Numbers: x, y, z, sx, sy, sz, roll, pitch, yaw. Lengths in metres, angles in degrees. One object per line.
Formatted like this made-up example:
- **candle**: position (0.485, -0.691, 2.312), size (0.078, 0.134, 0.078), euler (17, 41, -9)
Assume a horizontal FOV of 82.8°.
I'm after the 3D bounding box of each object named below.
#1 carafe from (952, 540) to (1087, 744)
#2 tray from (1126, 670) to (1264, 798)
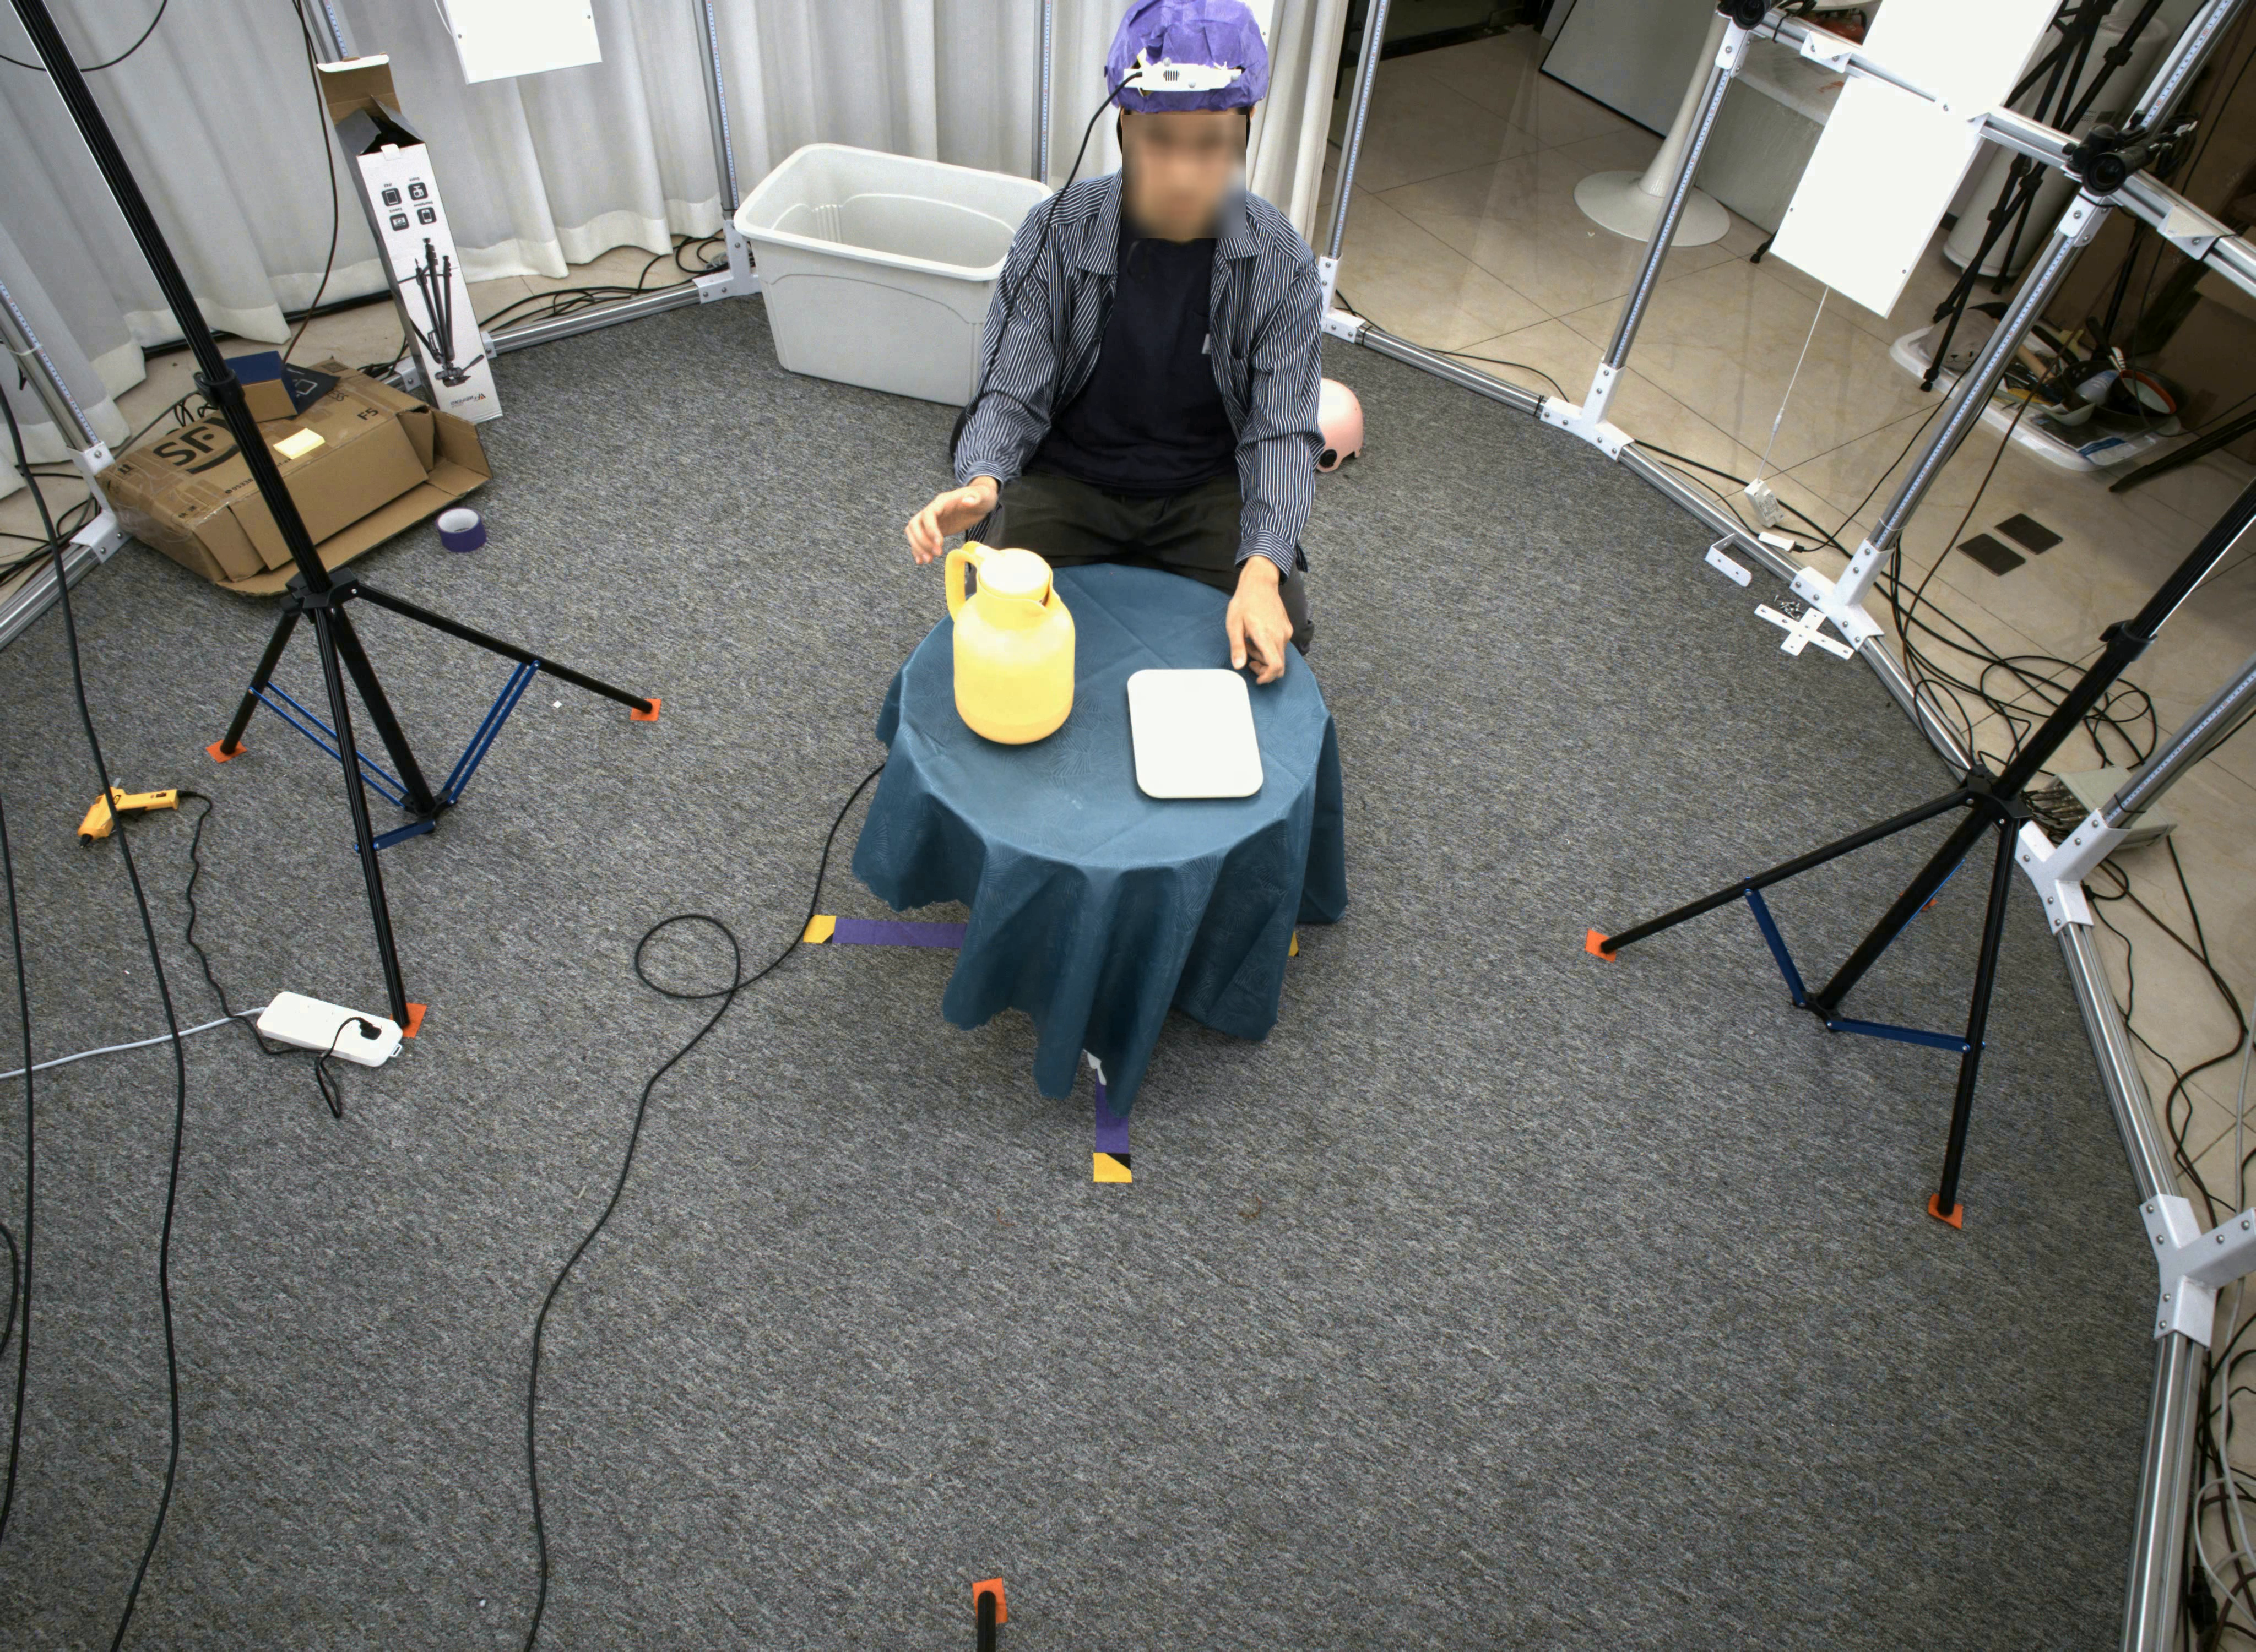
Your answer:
- **carafe**: position (-0.149, -0.253, 1.697), size (0.205, 0.254, 0.165), euler (35, 53, 22)
- **tray**: position (0.089, -0.128, 1.767), size (0.171, 0.017, 0.246), euler (-1, 48, -6)
